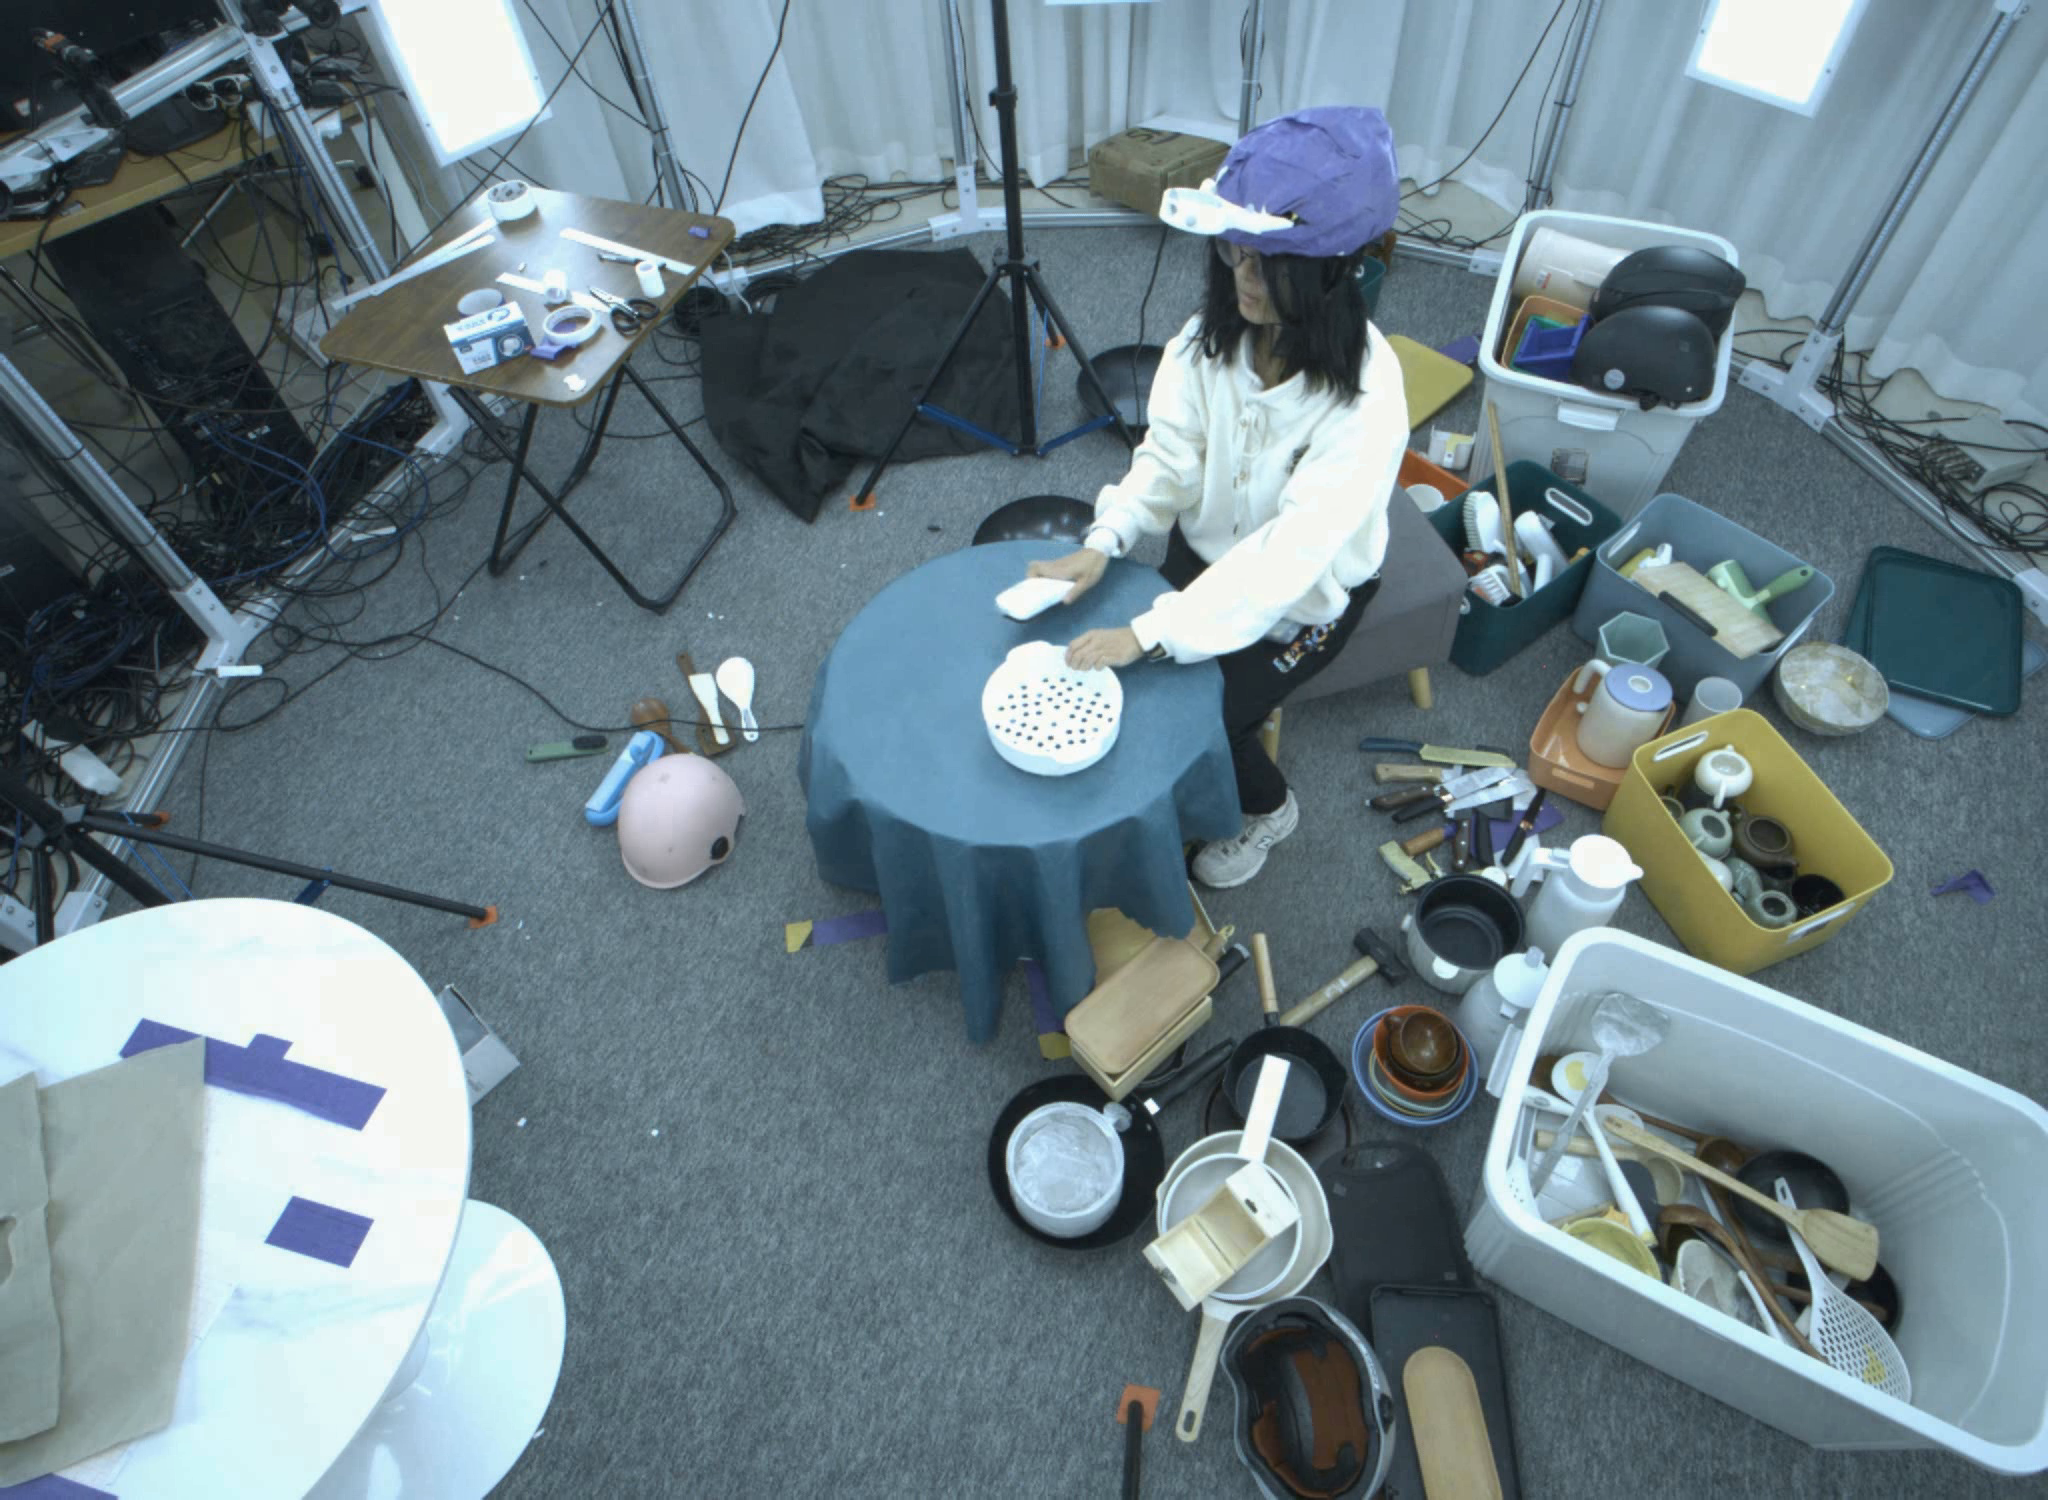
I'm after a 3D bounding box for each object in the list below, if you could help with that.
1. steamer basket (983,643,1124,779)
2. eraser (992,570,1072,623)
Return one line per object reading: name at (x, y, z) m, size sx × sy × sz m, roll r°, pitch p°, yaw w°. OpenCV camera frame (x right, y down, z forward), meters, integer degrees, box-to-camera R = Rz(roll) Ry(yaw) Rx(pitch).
steamer basket at (0.044, -0.052, 1.782) m, size 0.203 × 0.070 × 0.226 m, roll -18°, pitch 57°, yaw -11°
eraser at (0.014, -0.239, 1.890) m, size 0.062 × 0.035 × 0.133 m, roll 32°, pitch 47°, yaw 33°
